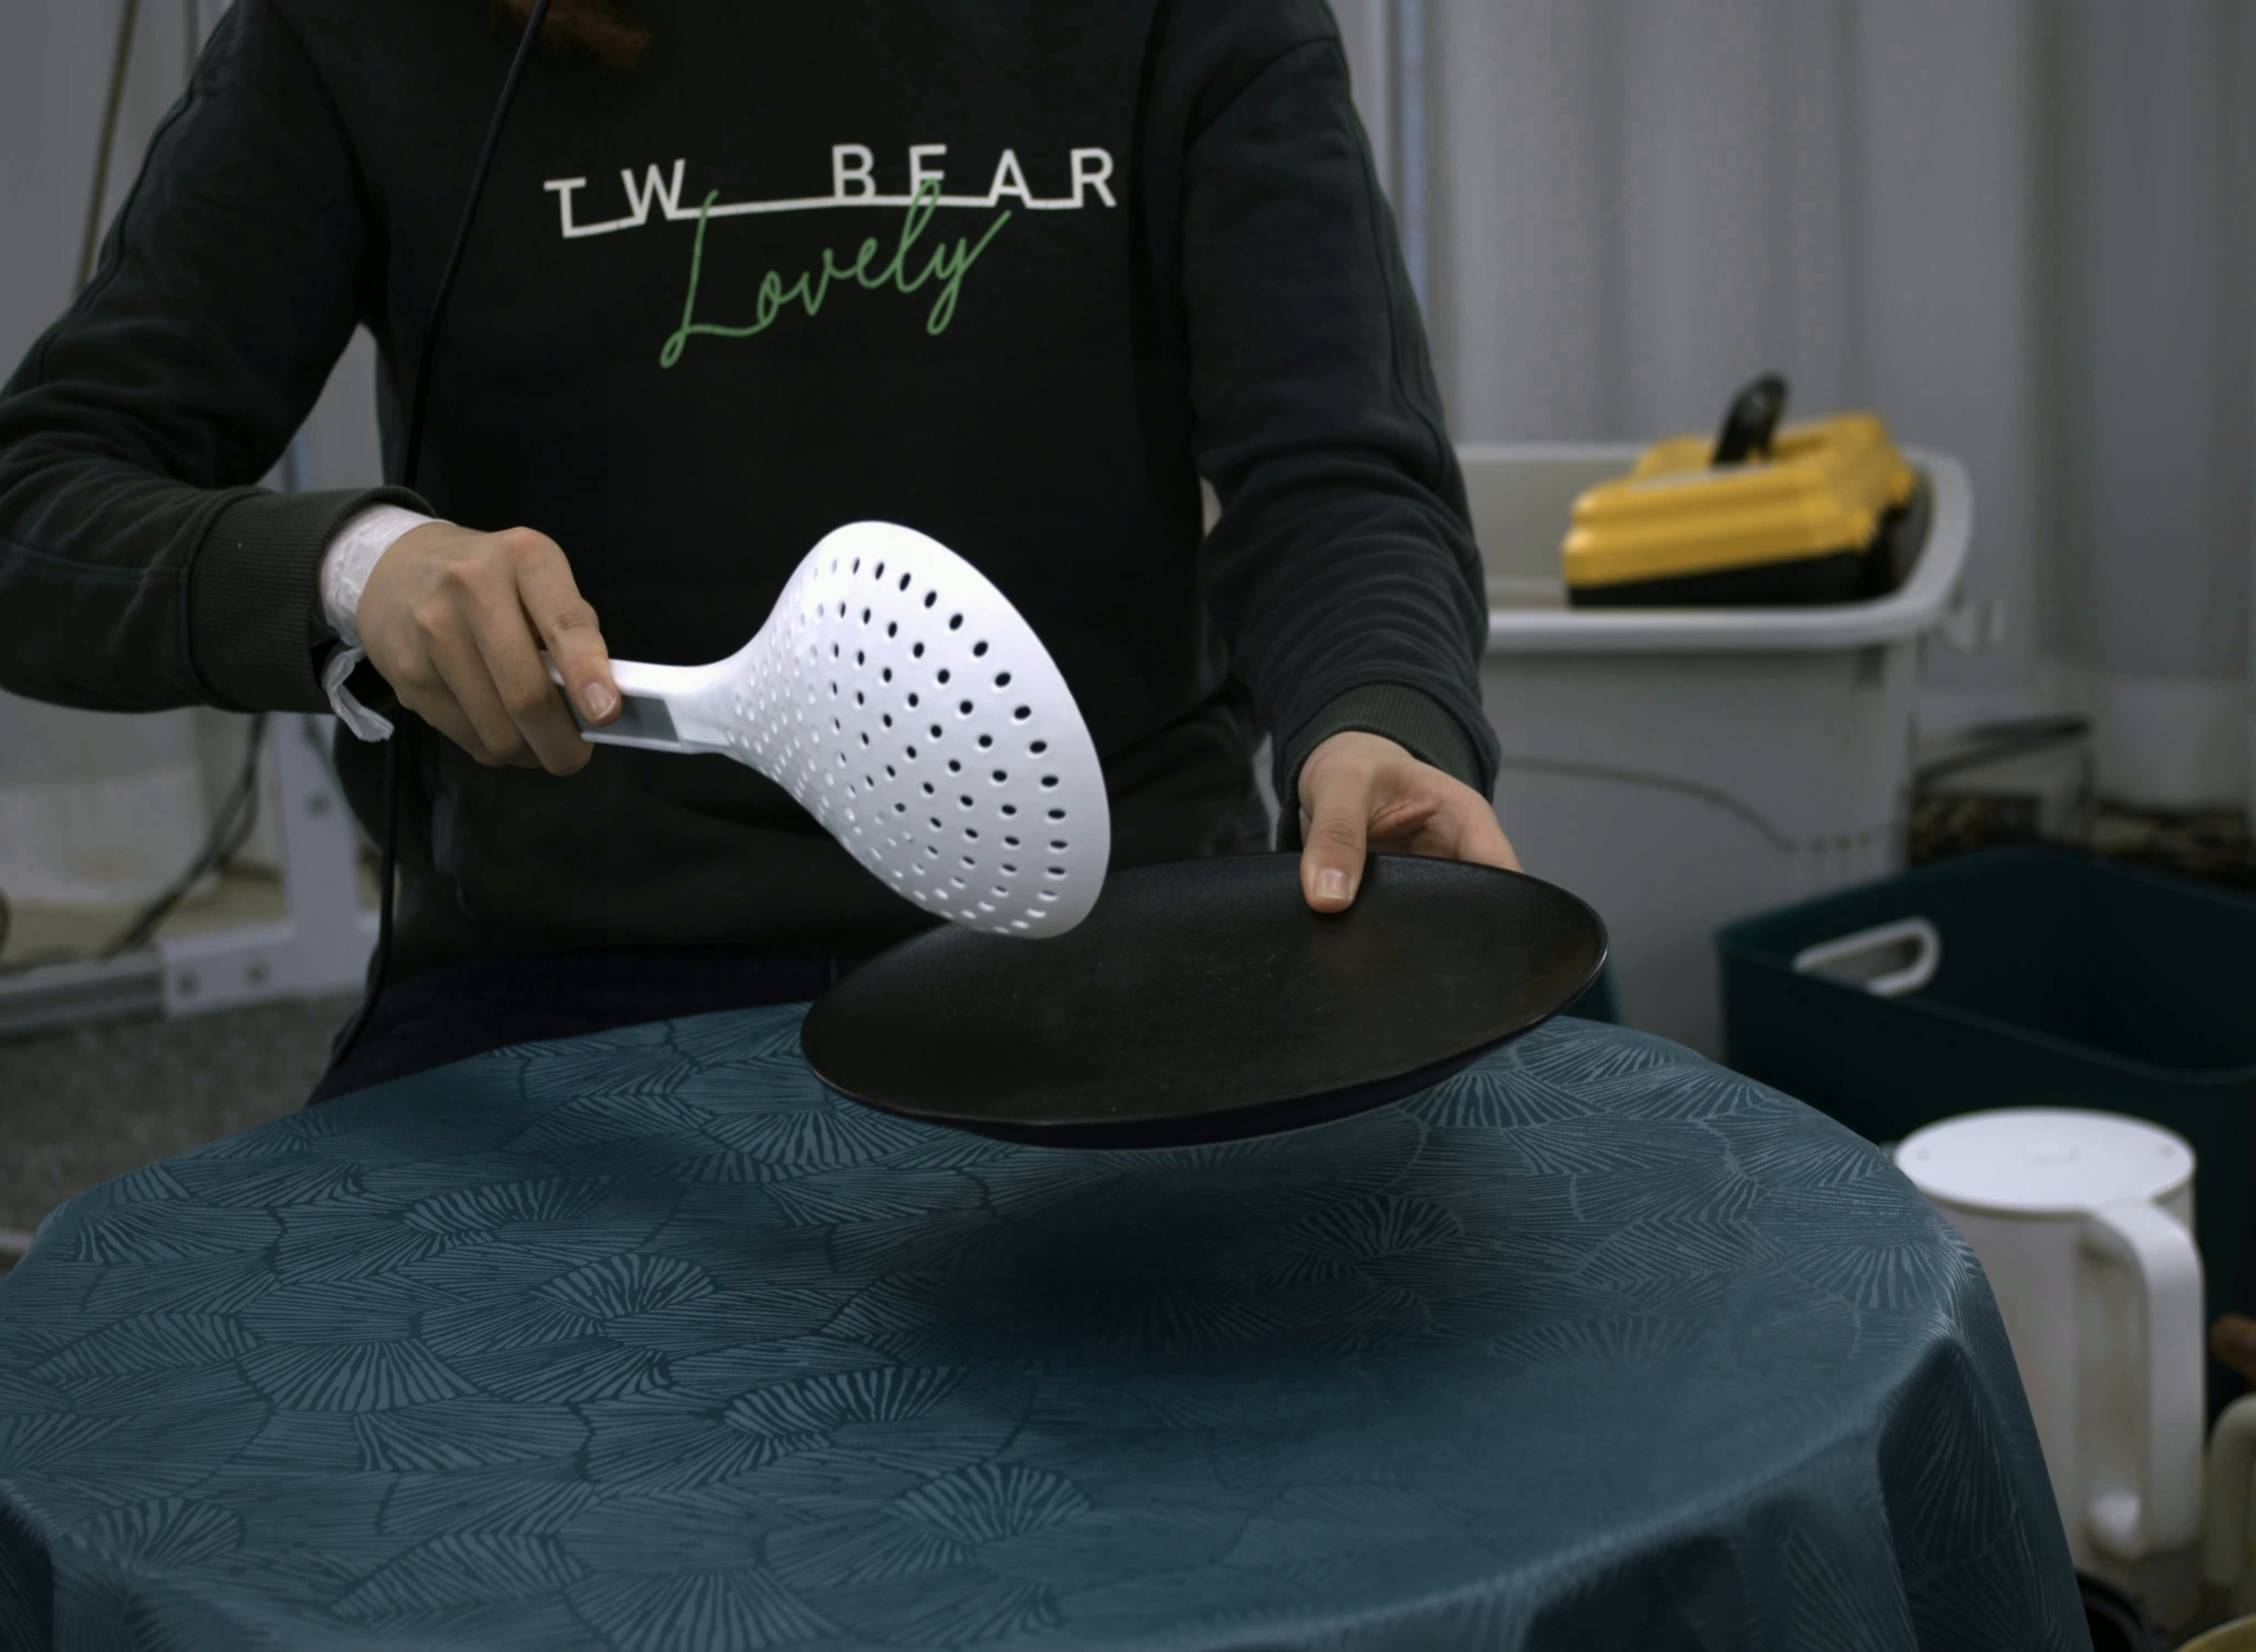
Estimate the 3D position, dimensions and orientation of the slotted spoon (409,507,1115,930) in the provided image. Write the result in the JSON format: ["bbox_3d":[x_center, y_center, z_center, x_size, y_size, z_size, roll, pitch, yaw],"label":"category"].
[{"bbox_3d":[-0.124,-0.036,1.693,0.046,0.135,0.351,-27,21,-29],"label":"slotted spoon"}]

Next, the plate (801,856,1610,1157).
[{"bbox_3d":[0.024,0.056,1.633,0.243,0.023,0.246,-7,16,2],"label":"plate"}]
